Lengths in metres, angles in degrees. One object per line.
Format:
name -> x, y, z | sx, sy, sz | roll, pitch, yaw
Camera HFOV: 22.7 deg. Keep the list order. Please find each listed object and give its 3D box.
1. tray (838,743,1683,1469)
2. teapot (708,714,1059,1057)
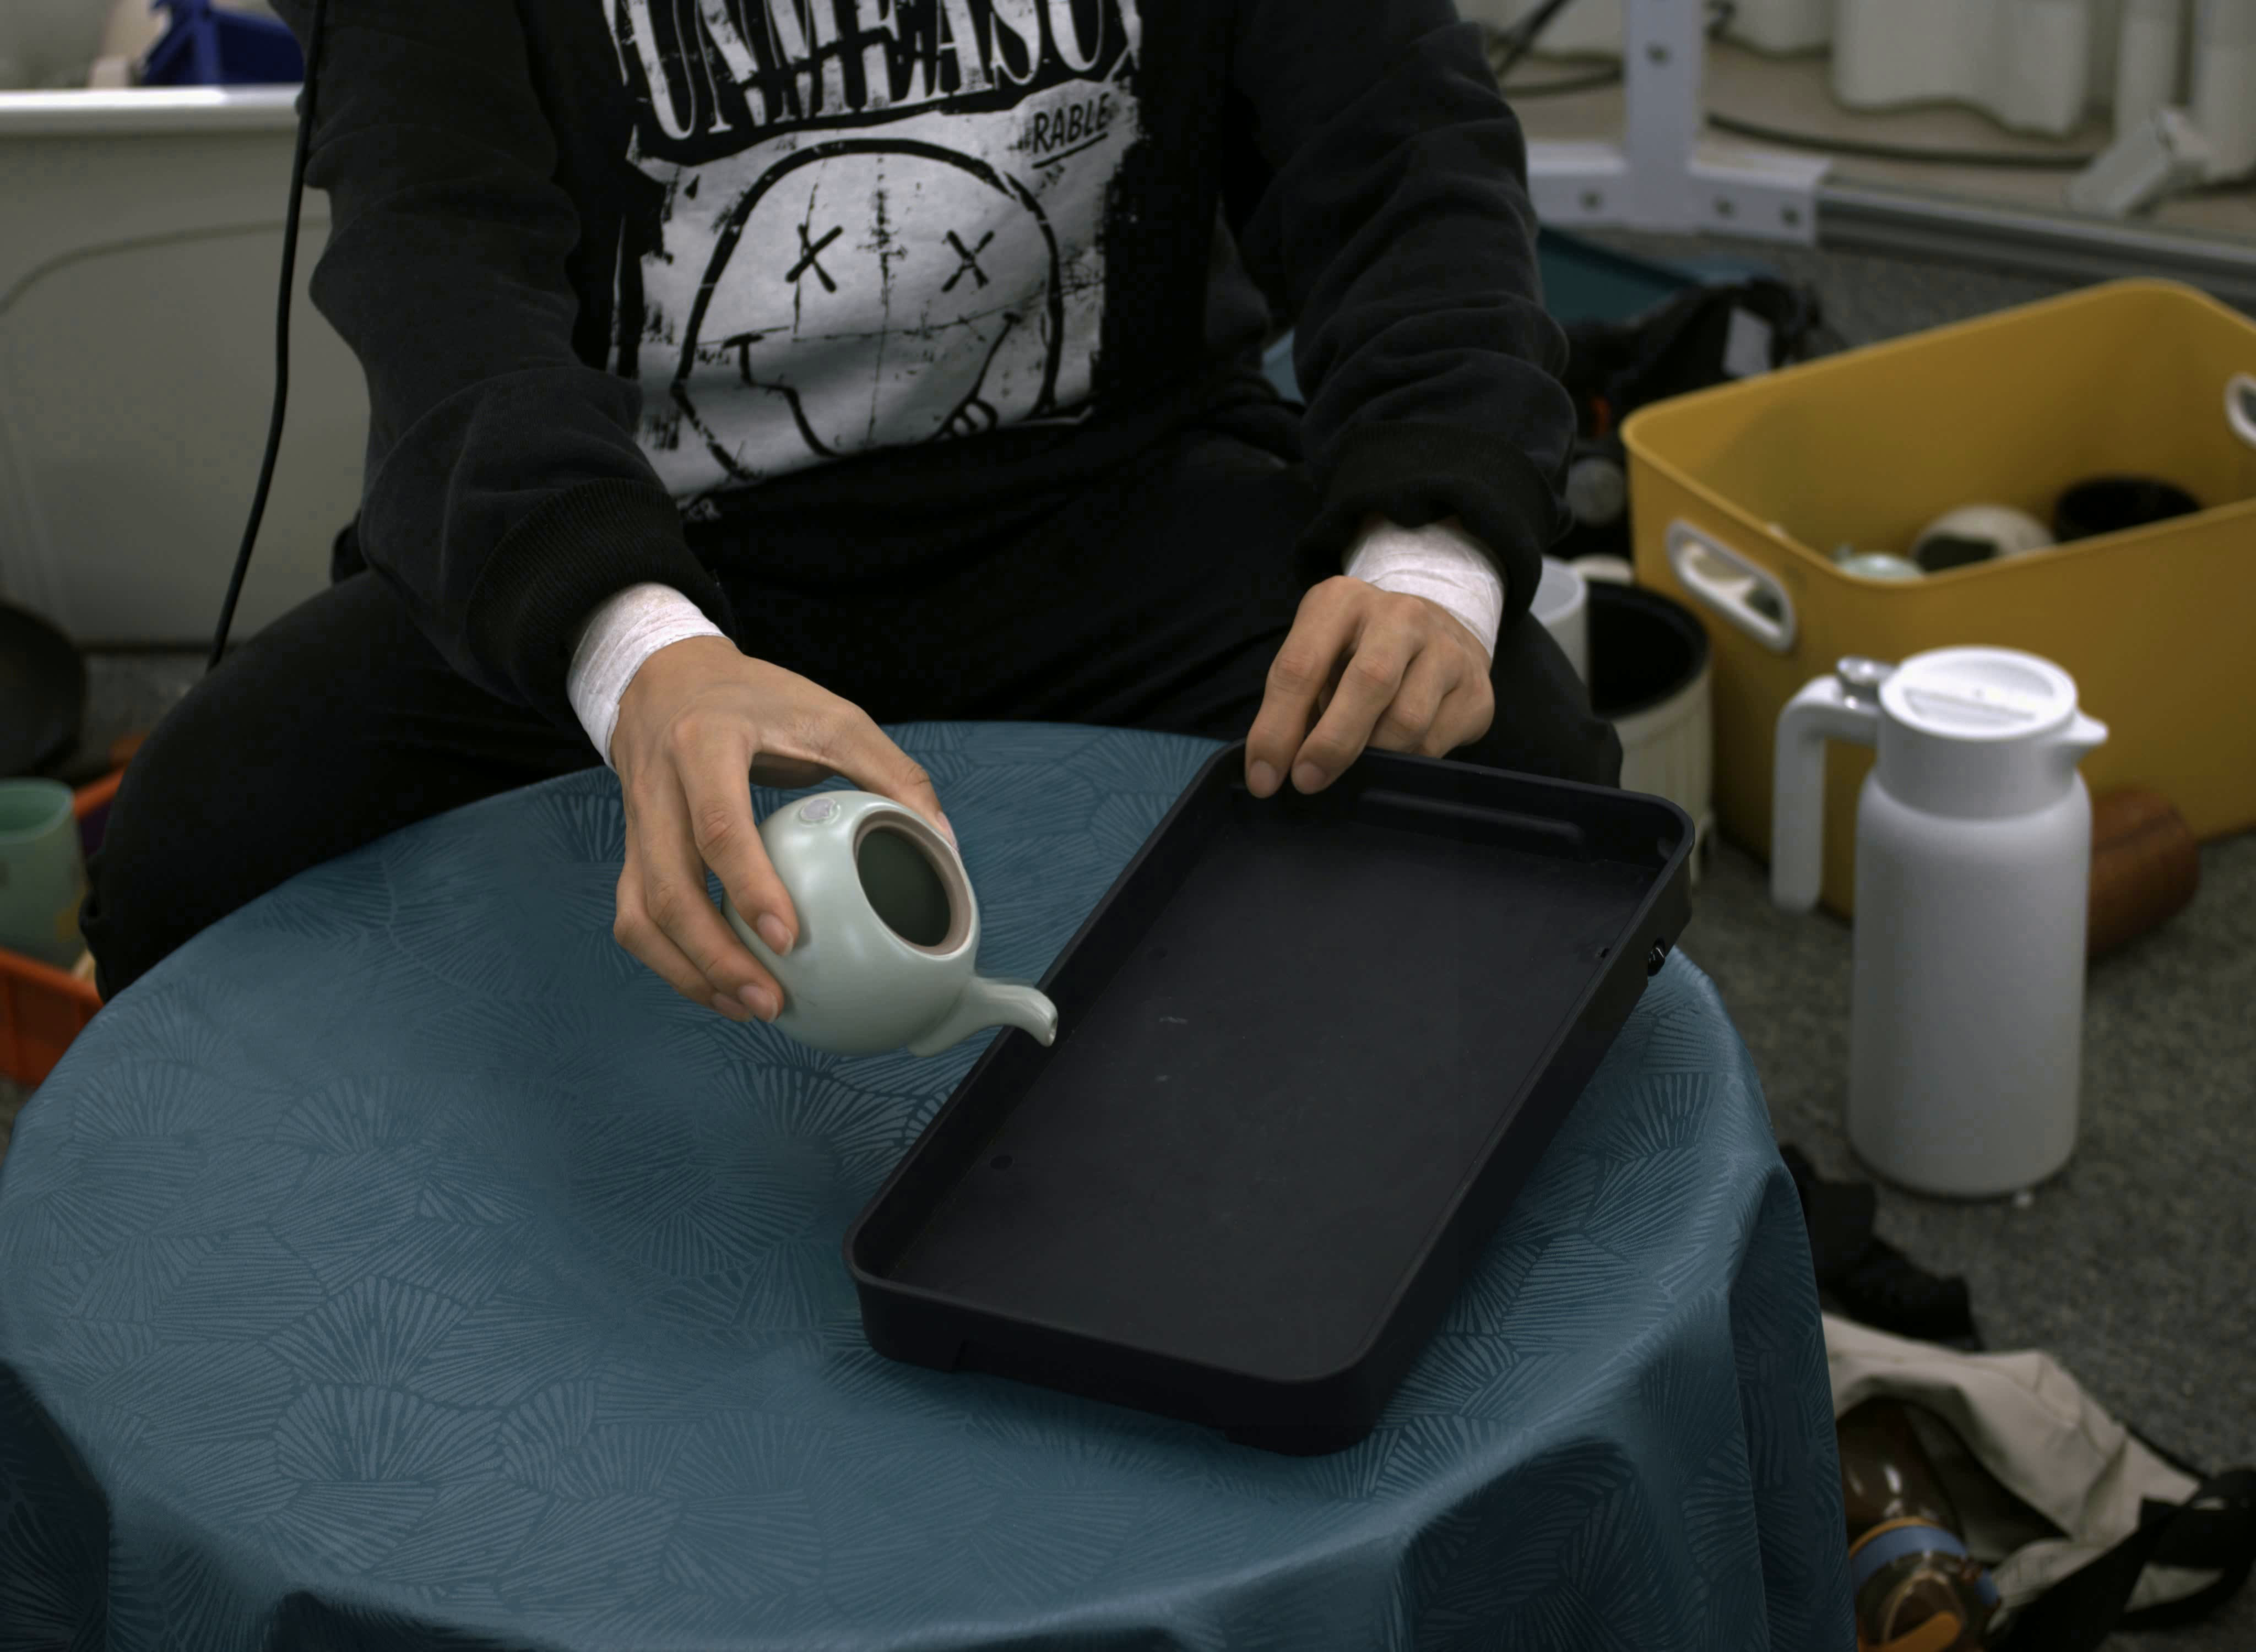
tray -> 0.050, 0.084, 1.845 | 0.183, 0.036, 0.324 | 10, 38, 23
teapot -> -0.090, 0.030, 1.833 | 0.073, 0.143, 0.090 | -31, 15, 32
